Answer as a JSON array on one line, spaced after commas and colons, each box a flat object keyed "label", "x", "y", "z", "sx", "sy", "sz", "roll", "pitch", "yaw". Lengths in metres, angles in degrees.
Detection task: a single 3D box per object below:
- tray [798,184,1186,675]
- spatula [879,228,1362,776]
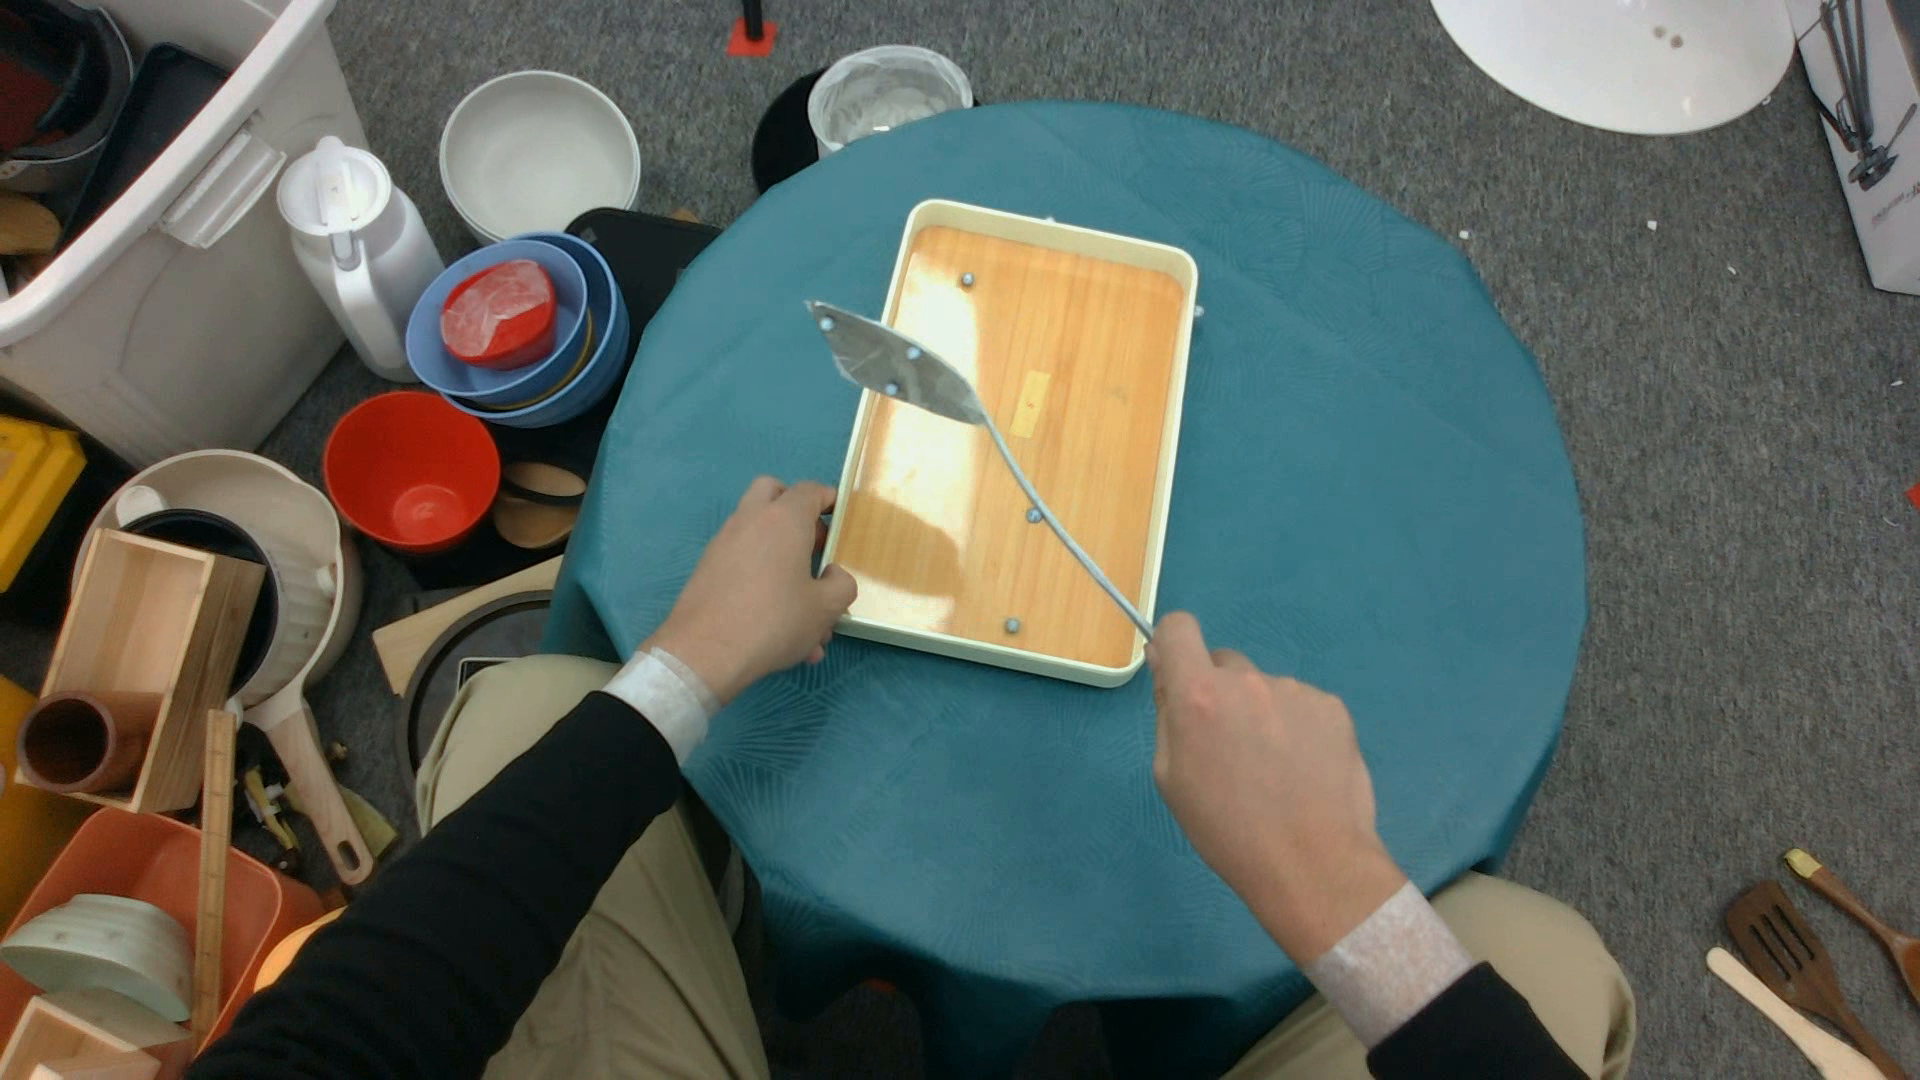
[{"label": "tray", "x": 0.026, "y": -0.076, "z": 0.830, "sx": 0.191, "sy": 0.027, "sz": 0.301, "roll": 12, "pitch": 64, "yaw": -1}, {"label": "spatula", "x": 0.071, "y": -0.024, "z": 0.689, "sx": 0.045, "sy": 0.098, "sz": 0.365, "roll": -32, "pitch": 69, "yaw": -4}]
